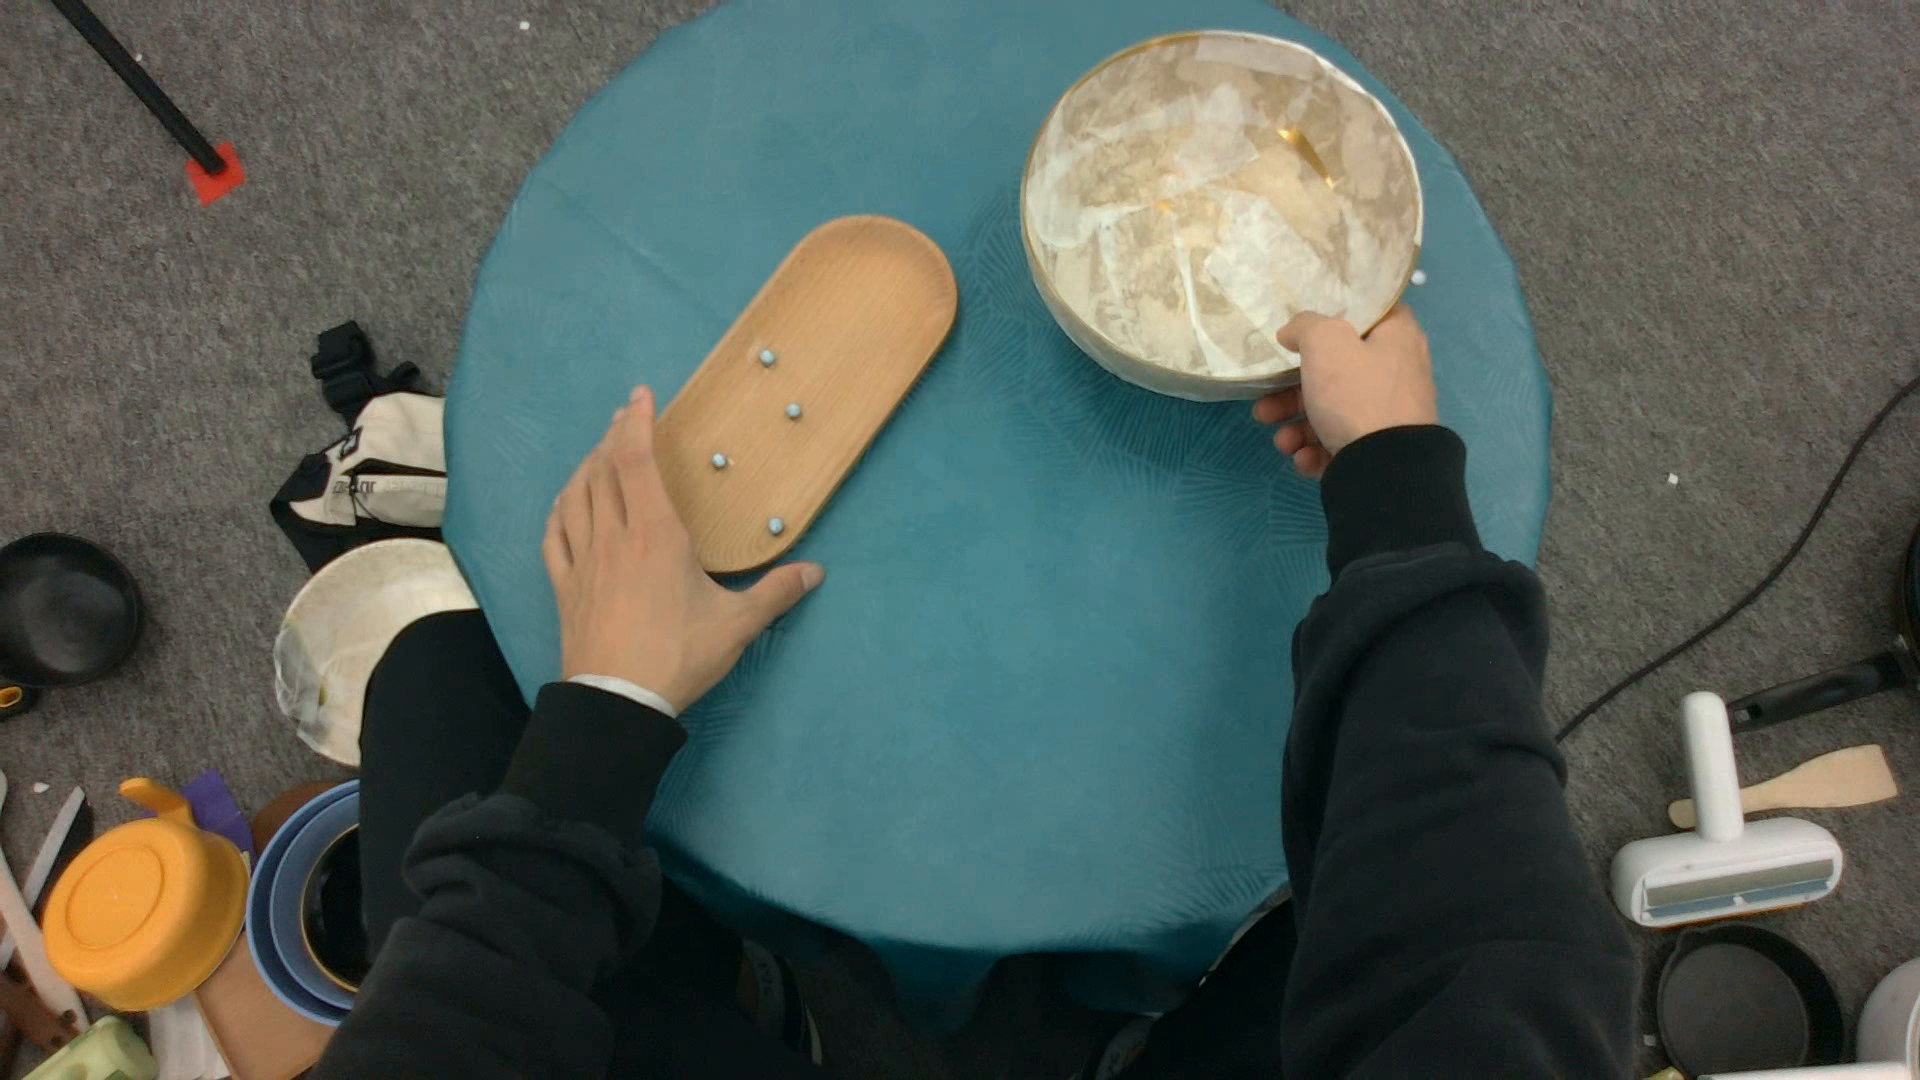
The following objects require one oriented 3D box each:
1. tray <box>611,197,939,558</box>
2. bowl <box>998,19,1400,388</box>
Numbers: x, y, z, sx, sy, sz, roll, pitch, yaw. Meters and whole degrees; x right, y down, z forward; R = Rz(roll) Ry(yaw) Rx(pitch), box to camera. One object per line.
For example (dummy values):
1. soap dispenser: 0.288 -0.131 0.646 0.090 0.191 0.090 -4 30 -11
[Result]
1. tray: -0.097 -0.091 0.746 0.101 0.020 0.232 32 72 6
2. bowl: 0.117 -0.164 0.734 0.215 0.094 0.215 1 72 -2
